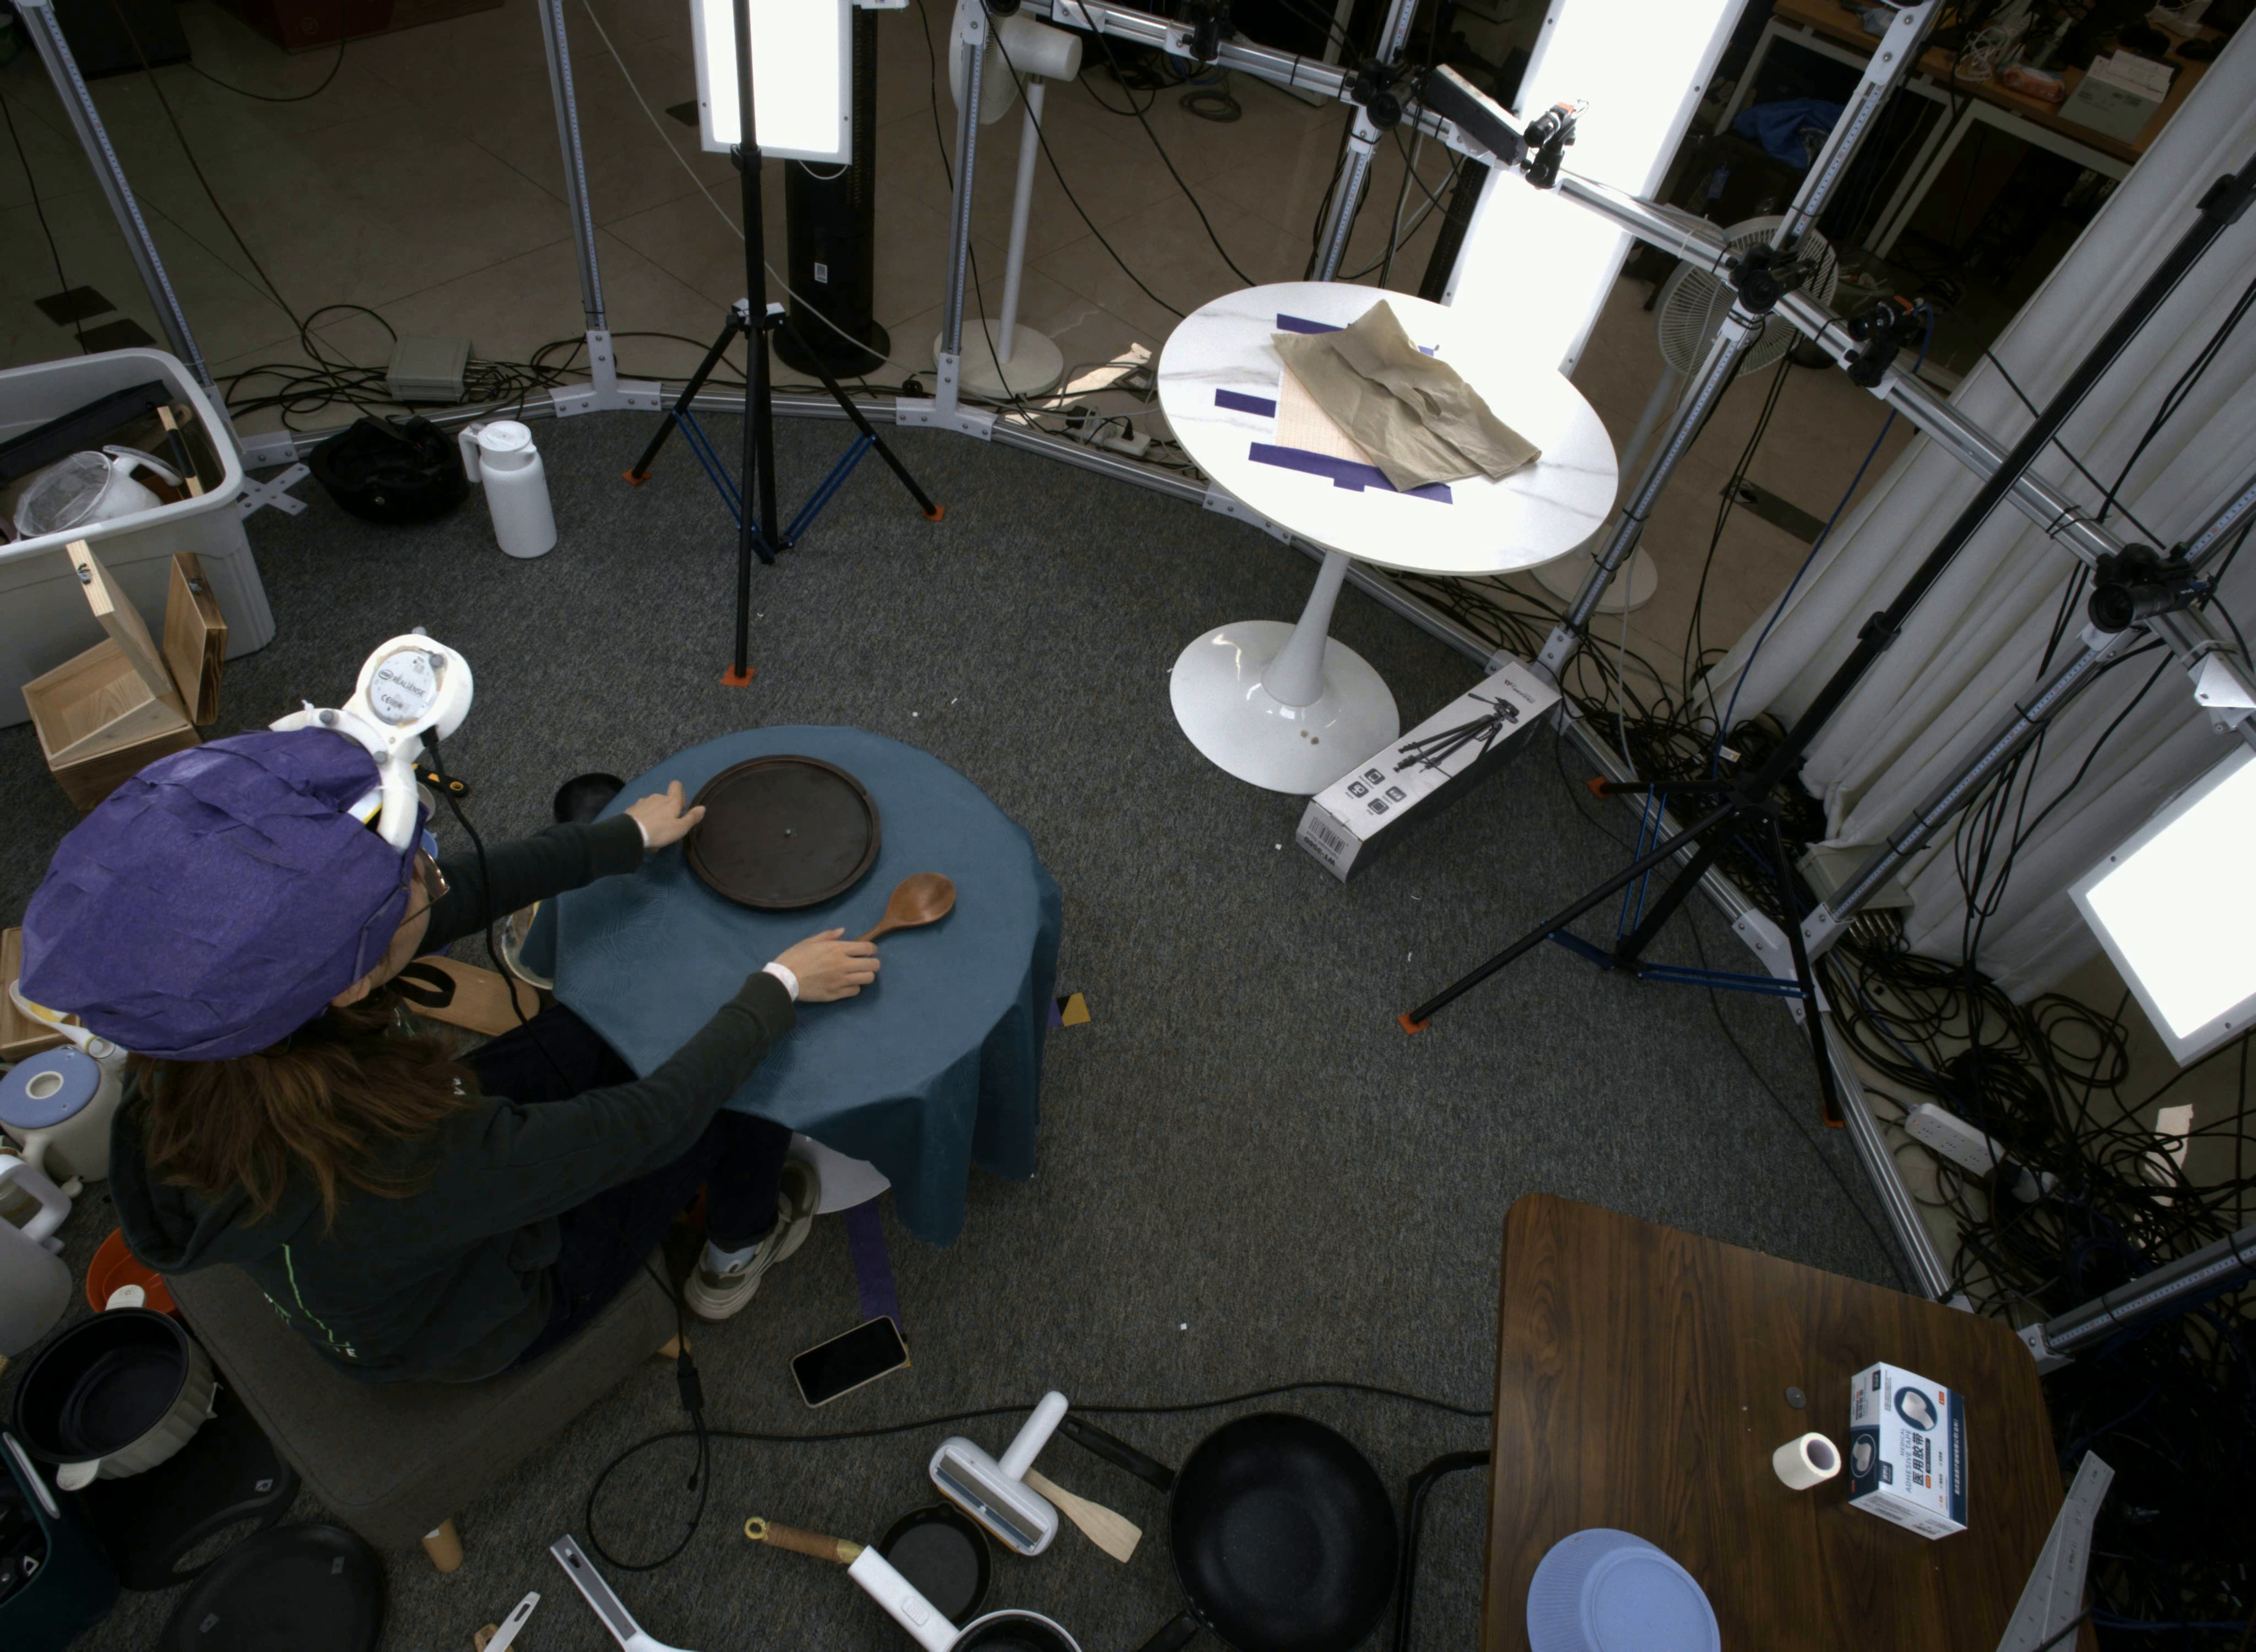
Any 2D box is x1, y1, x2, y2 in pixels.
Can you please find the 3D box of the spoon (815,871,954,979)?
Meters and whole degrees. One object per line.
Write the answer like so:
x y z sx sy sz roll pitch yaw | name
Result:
-0.310 0.126 1.654 0.074 0.017 0.216 41 55 17 | spoon

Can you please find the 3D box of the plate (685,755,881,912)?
-0.452 0.007 1.703 0.254 0.029 0.250 8 51 -8 | plate
